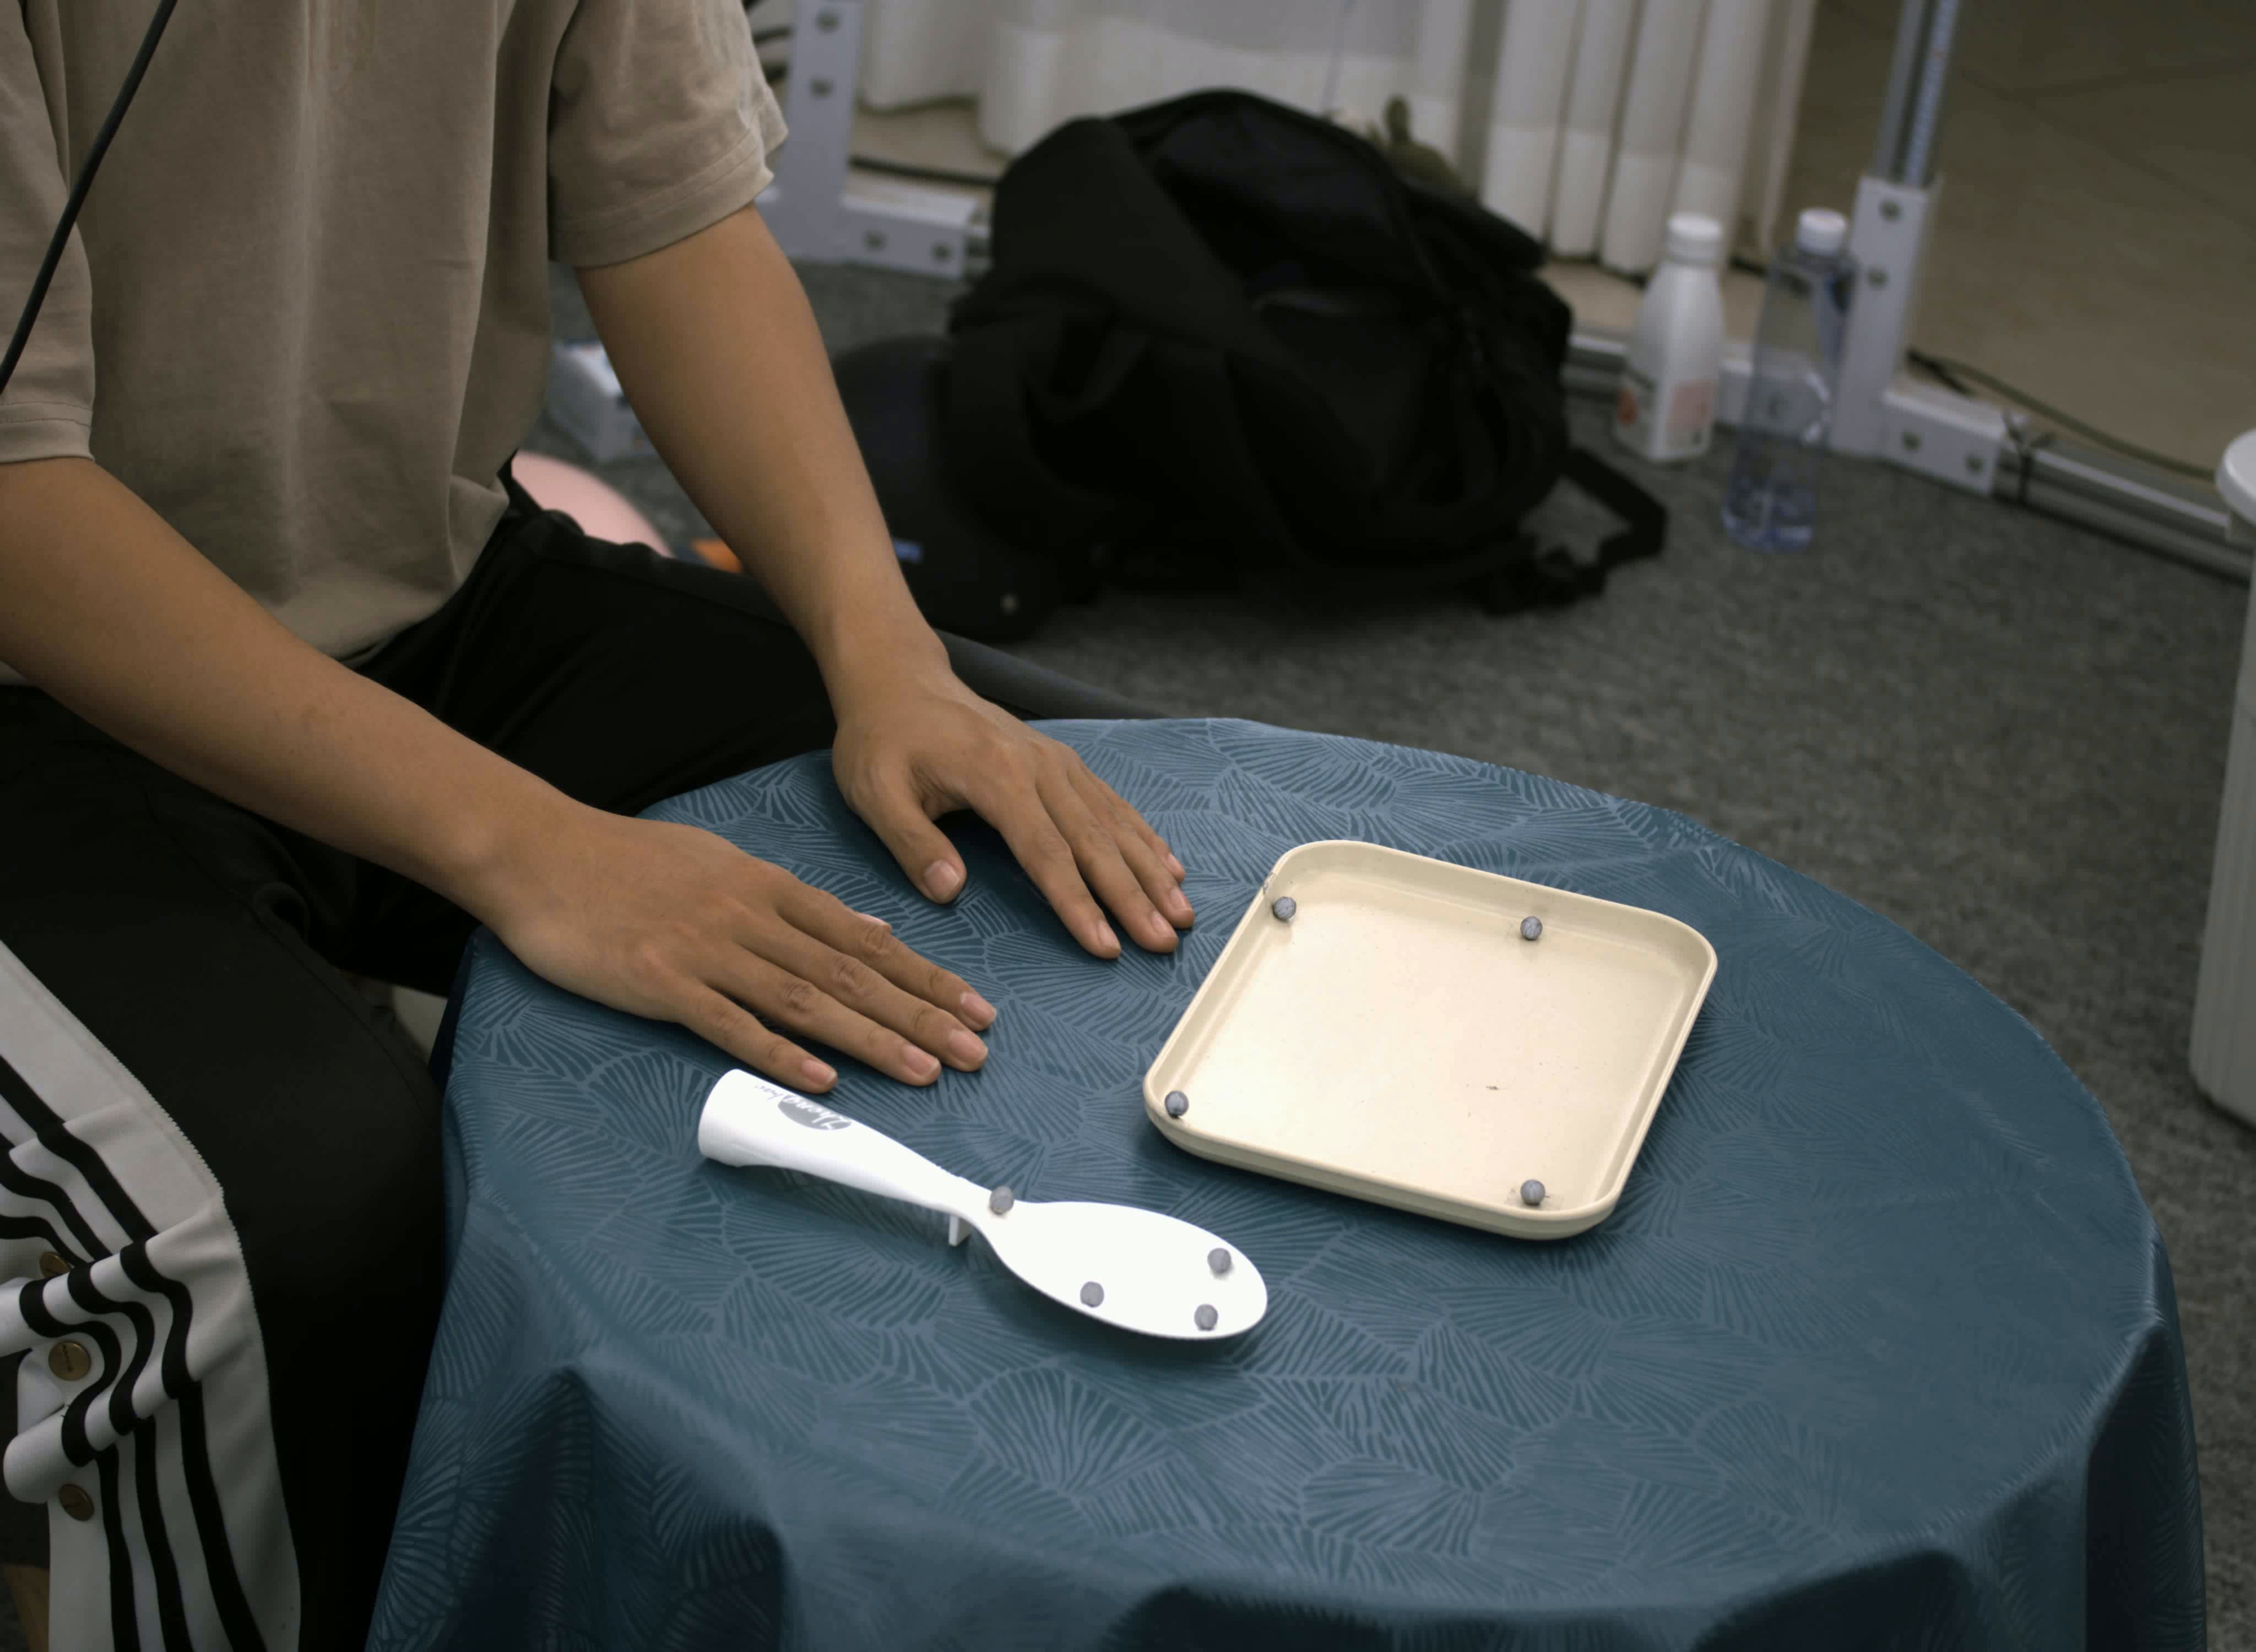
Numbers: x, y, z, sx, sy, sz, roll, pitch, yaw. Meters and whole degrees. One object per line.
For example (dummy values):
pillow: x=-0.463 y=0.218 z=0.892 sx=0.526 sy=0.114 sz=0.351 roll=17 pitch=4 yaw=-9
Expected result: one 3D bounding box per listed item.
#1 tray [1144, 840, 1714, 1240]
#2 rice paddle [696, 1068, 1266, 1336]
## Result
tray: x=0.110 y=0.075 z=1.906 sx=0.171 sy=0.017 sz=0.240 roll=14 pitch=28 yaw=12
rice paddle: x=-0.048 y=0.125 z=1.756 sx=0.206 sy=0.029 sz=0.069 roll=19 pitch=31 yaw=22
